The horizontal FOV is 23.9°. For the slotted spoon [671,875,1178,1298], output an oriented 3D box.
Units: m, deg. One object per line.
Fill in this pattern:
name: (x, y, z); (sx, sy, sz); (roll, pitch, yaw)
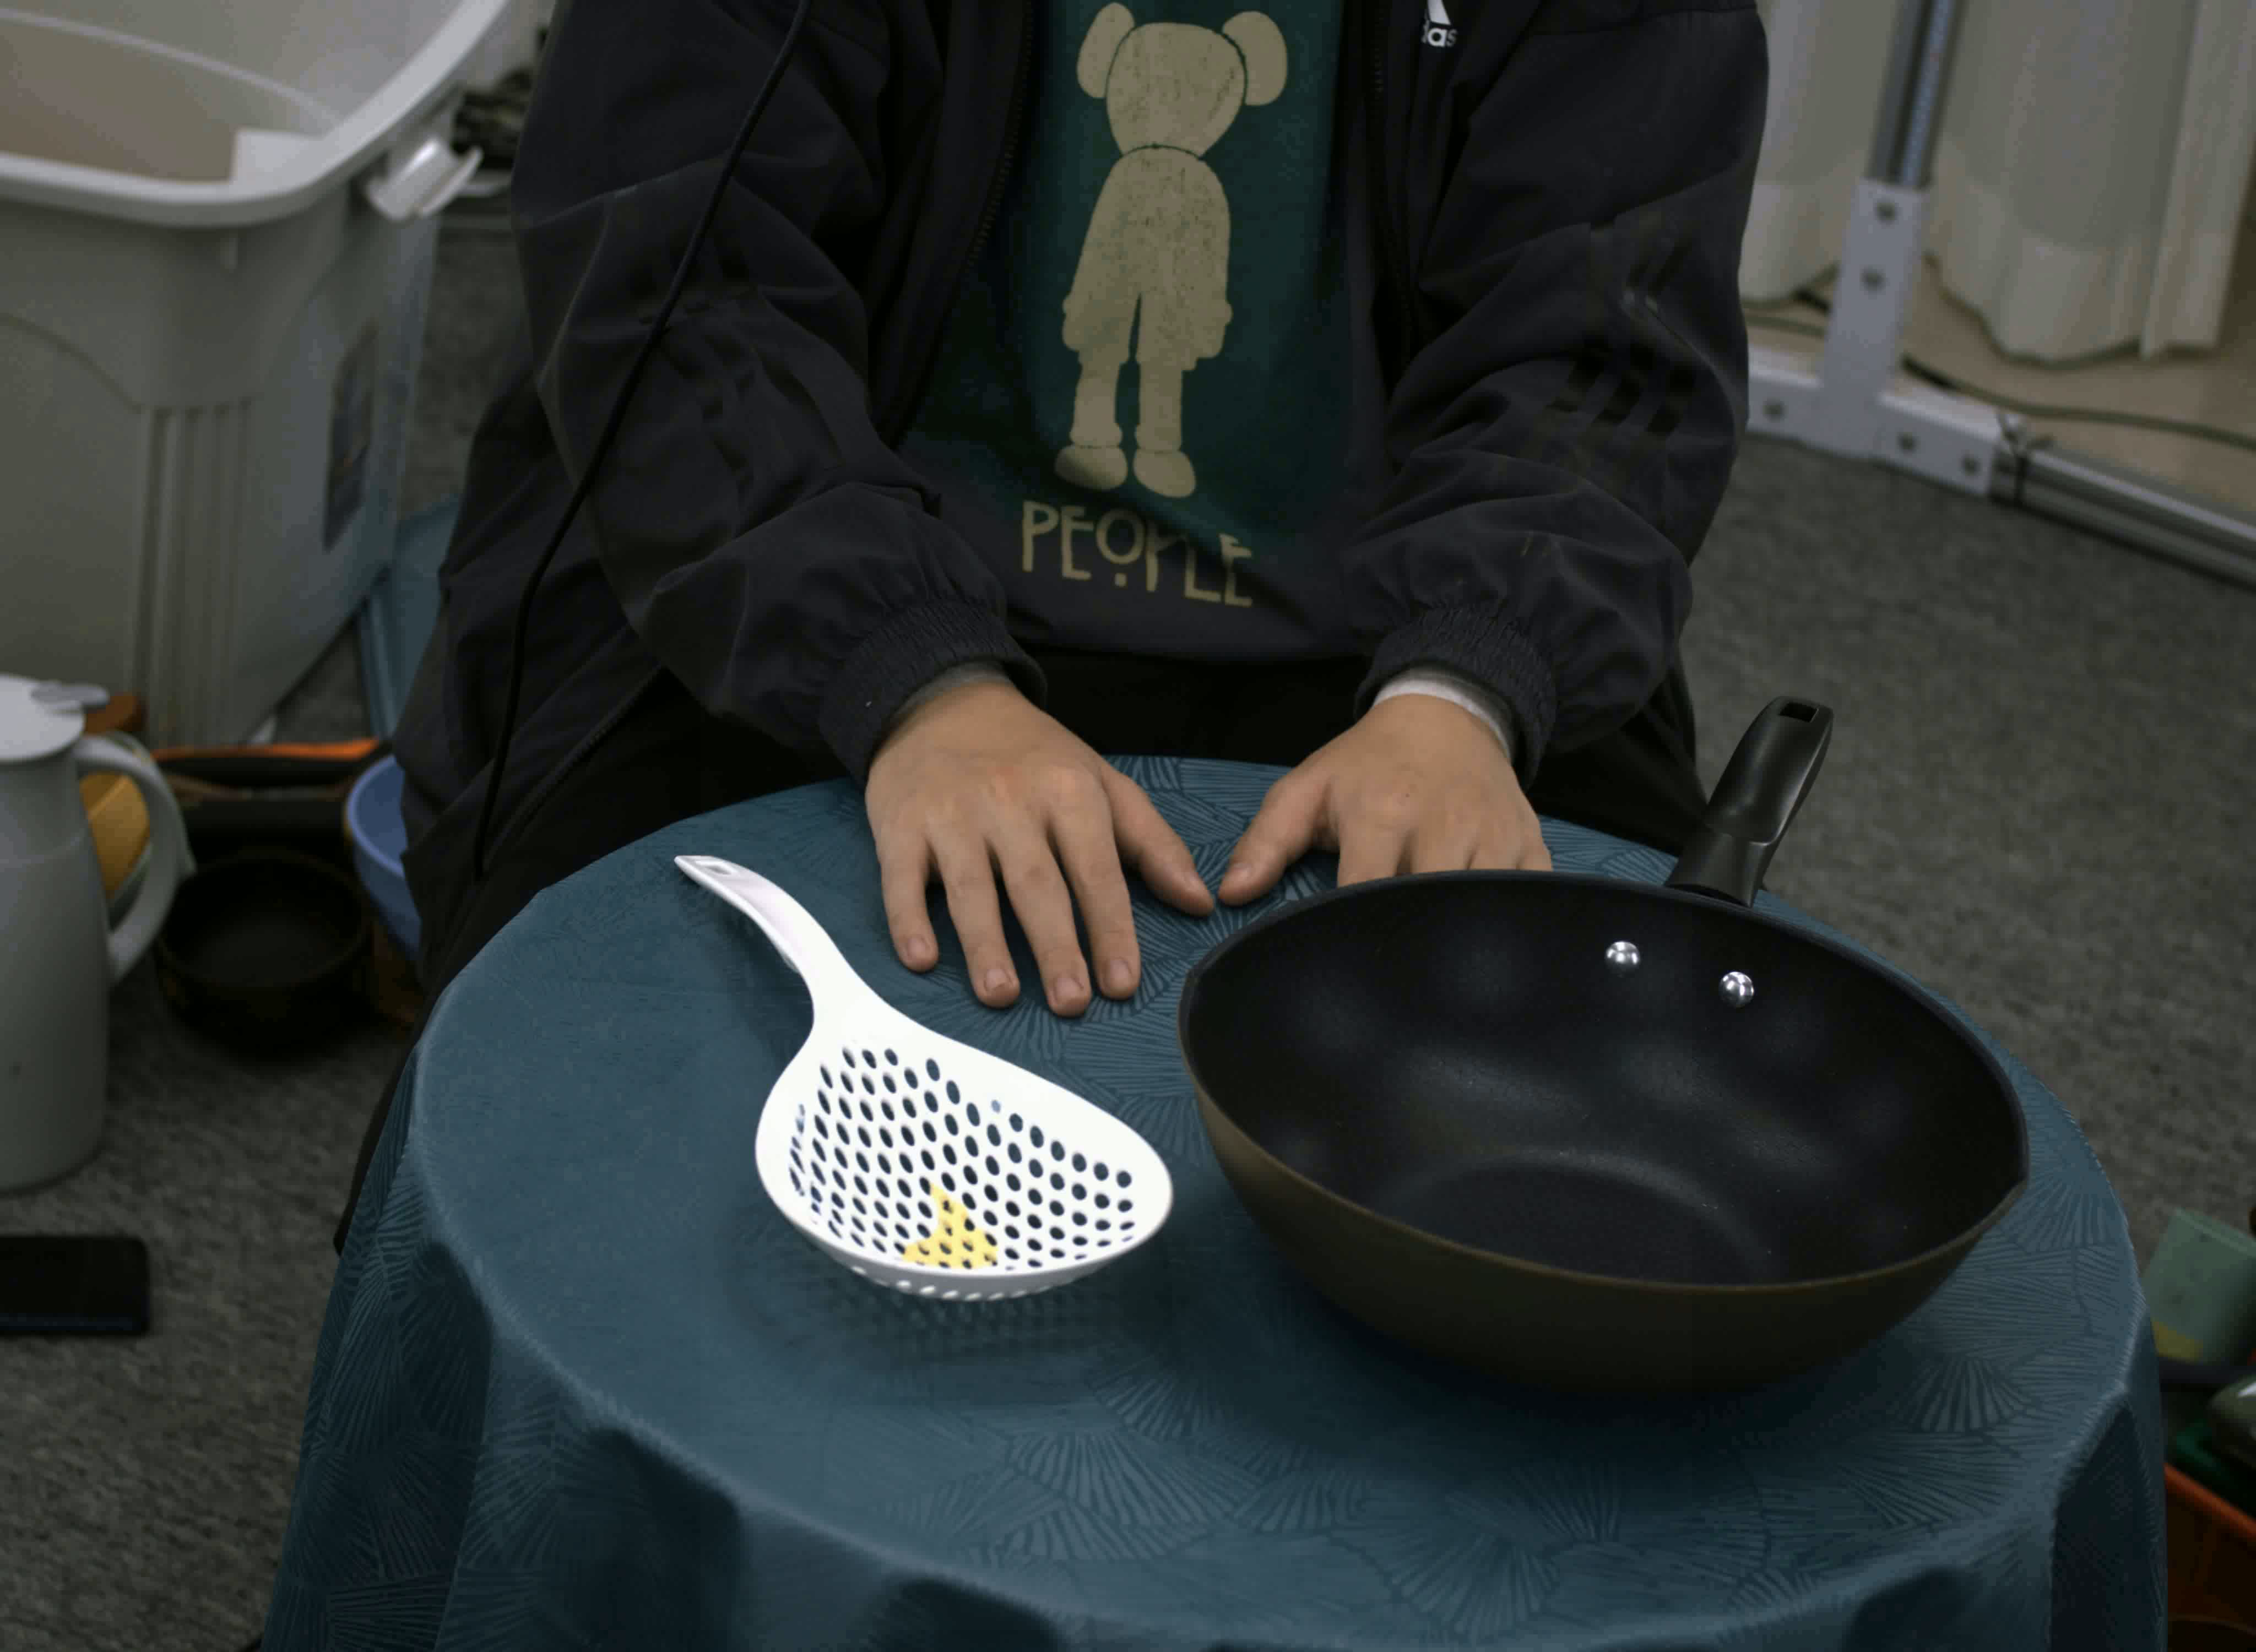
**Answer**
slotted spoon: (-0.093, 0.077, 1.831); (0.136, 0.050, 0.351); (-6, 29, -20)

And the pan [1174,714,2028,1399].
pan: (0.180, 0.077, 1.847); (0.288, 0.086, 0.464); (14, 27, 14)
